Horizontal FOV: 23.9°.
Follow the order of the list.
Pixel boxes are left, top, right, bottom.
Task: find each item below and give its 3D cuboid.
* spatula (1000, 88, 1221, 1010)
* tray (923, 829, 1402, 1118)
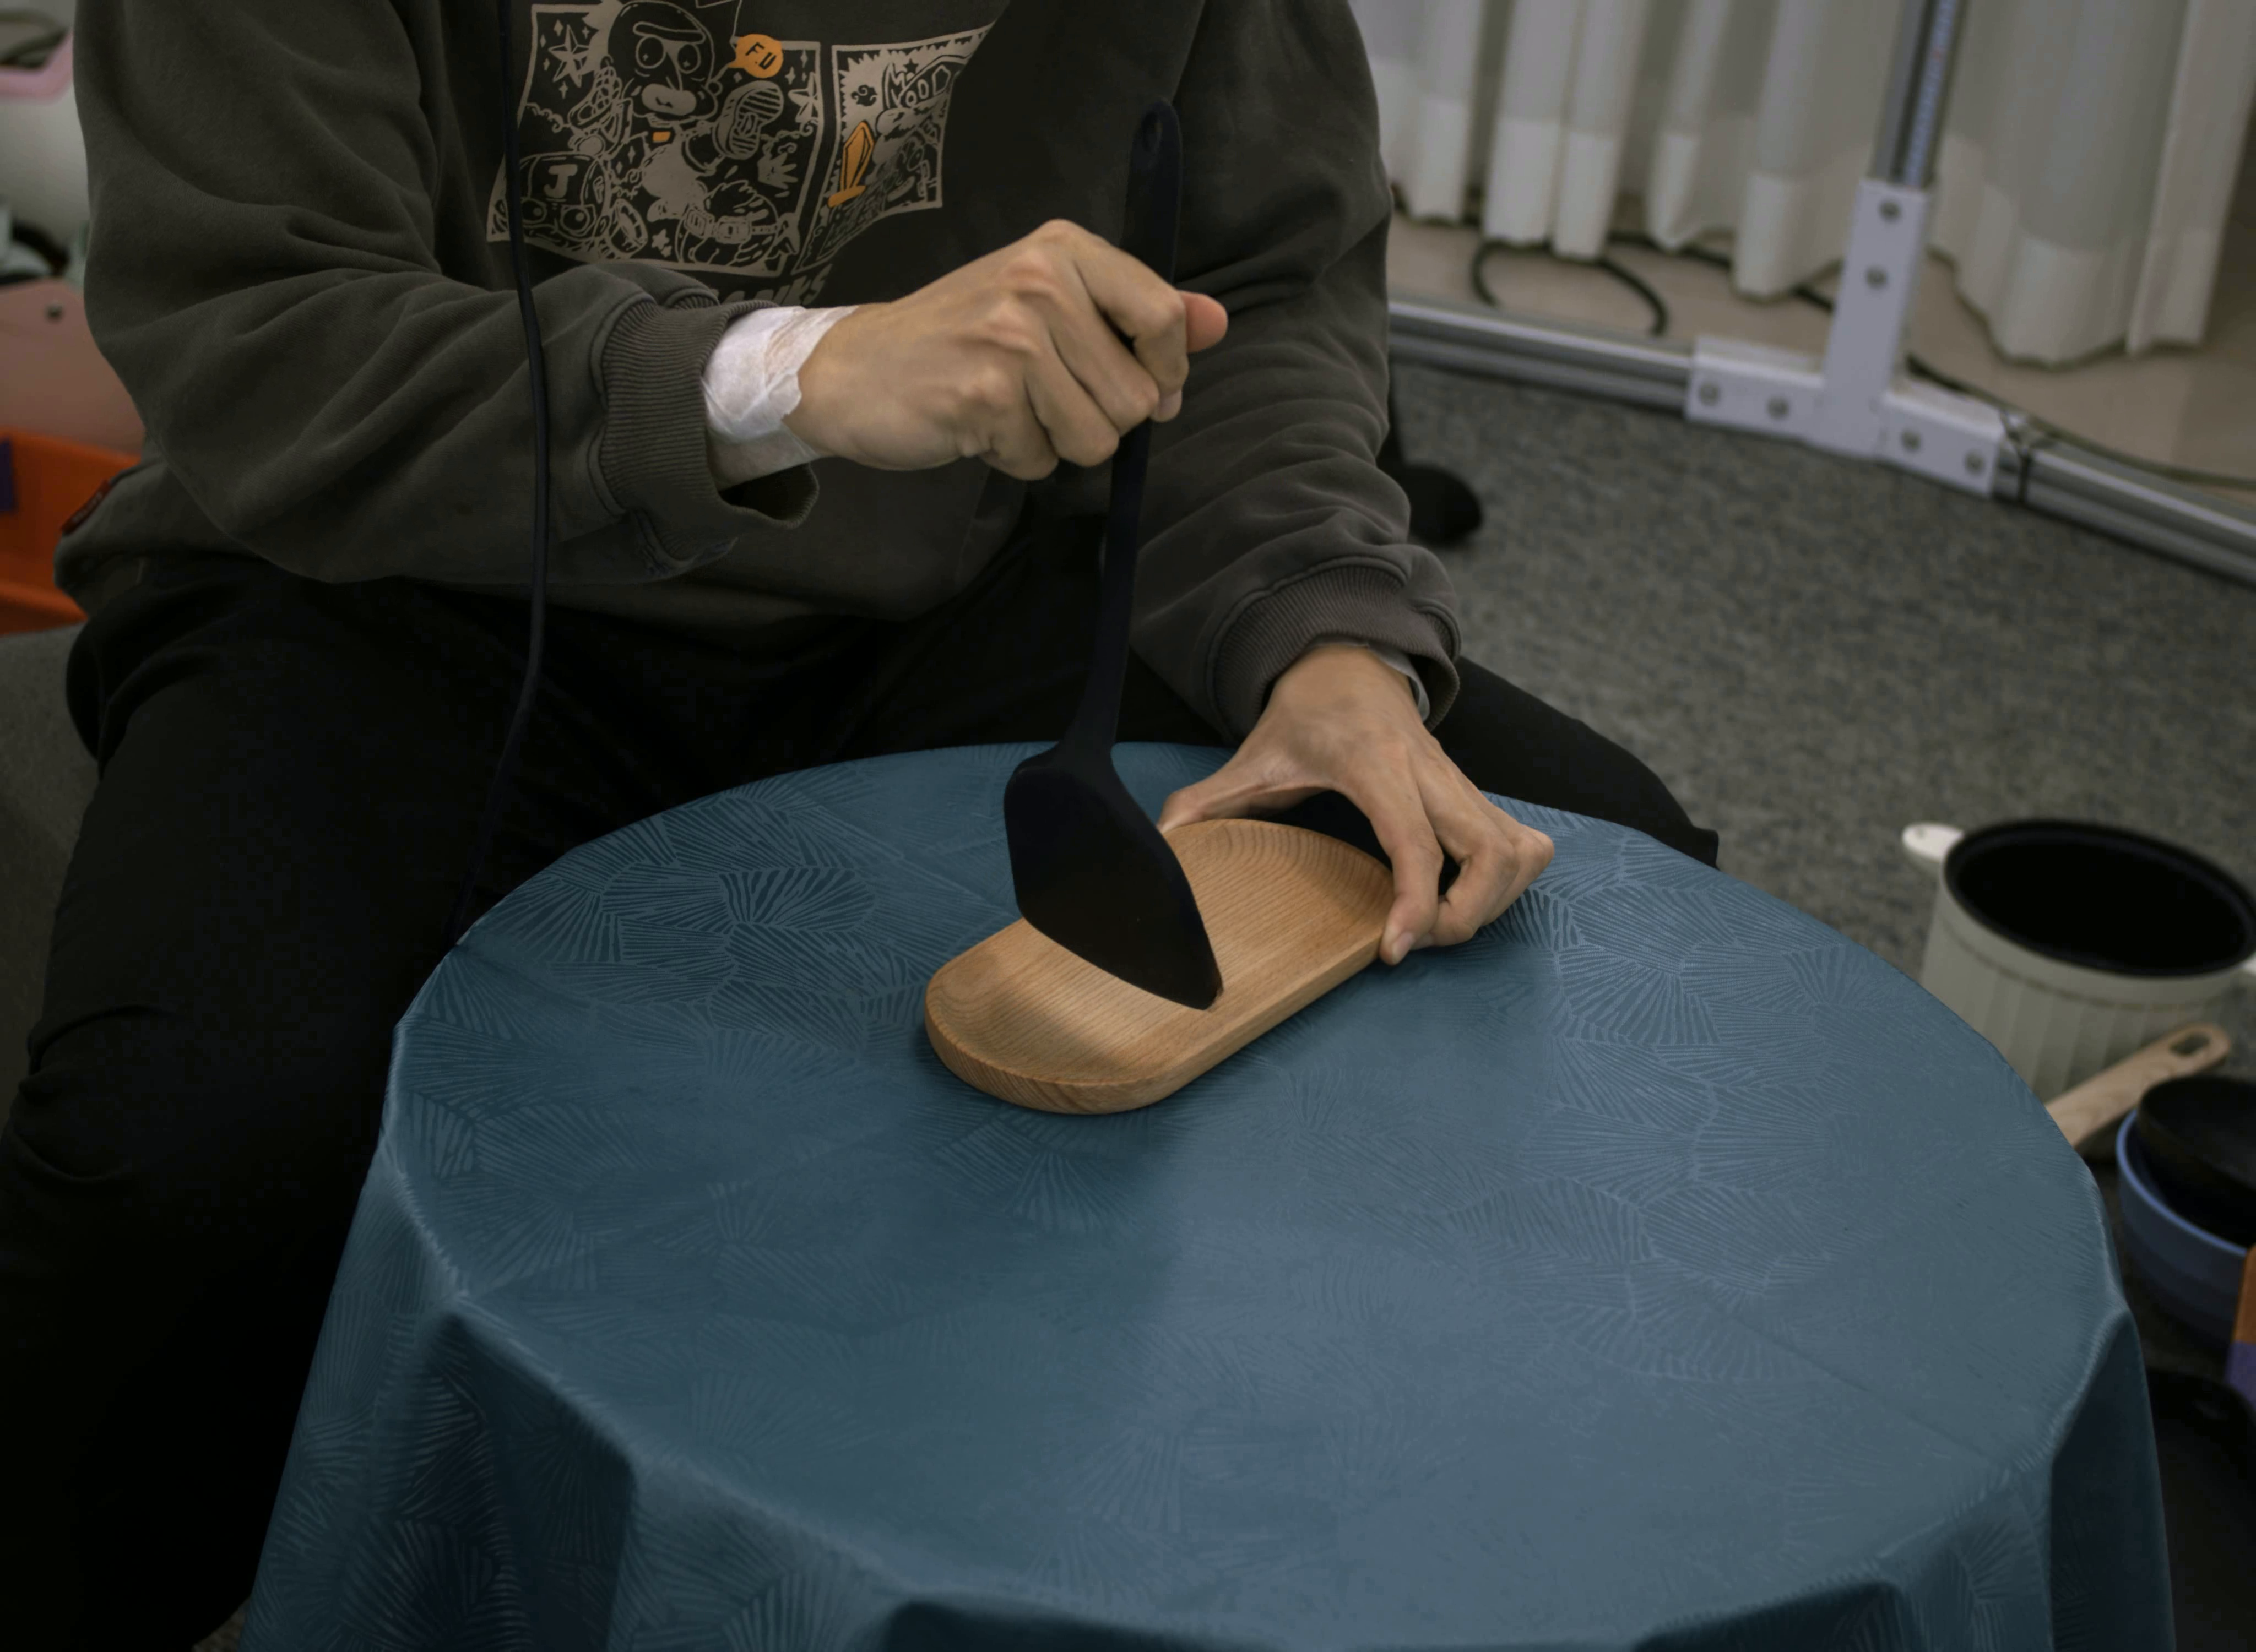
[{"bbox_3d":[0.001,-0.092,1.805,0.100,0.325,0.040,24,27,37],"label":"spatula"},{"bbox_3d":[0.014,0.052,1.931,0.102,0.020,0.230,22,32,28],"label":"tray"}]
